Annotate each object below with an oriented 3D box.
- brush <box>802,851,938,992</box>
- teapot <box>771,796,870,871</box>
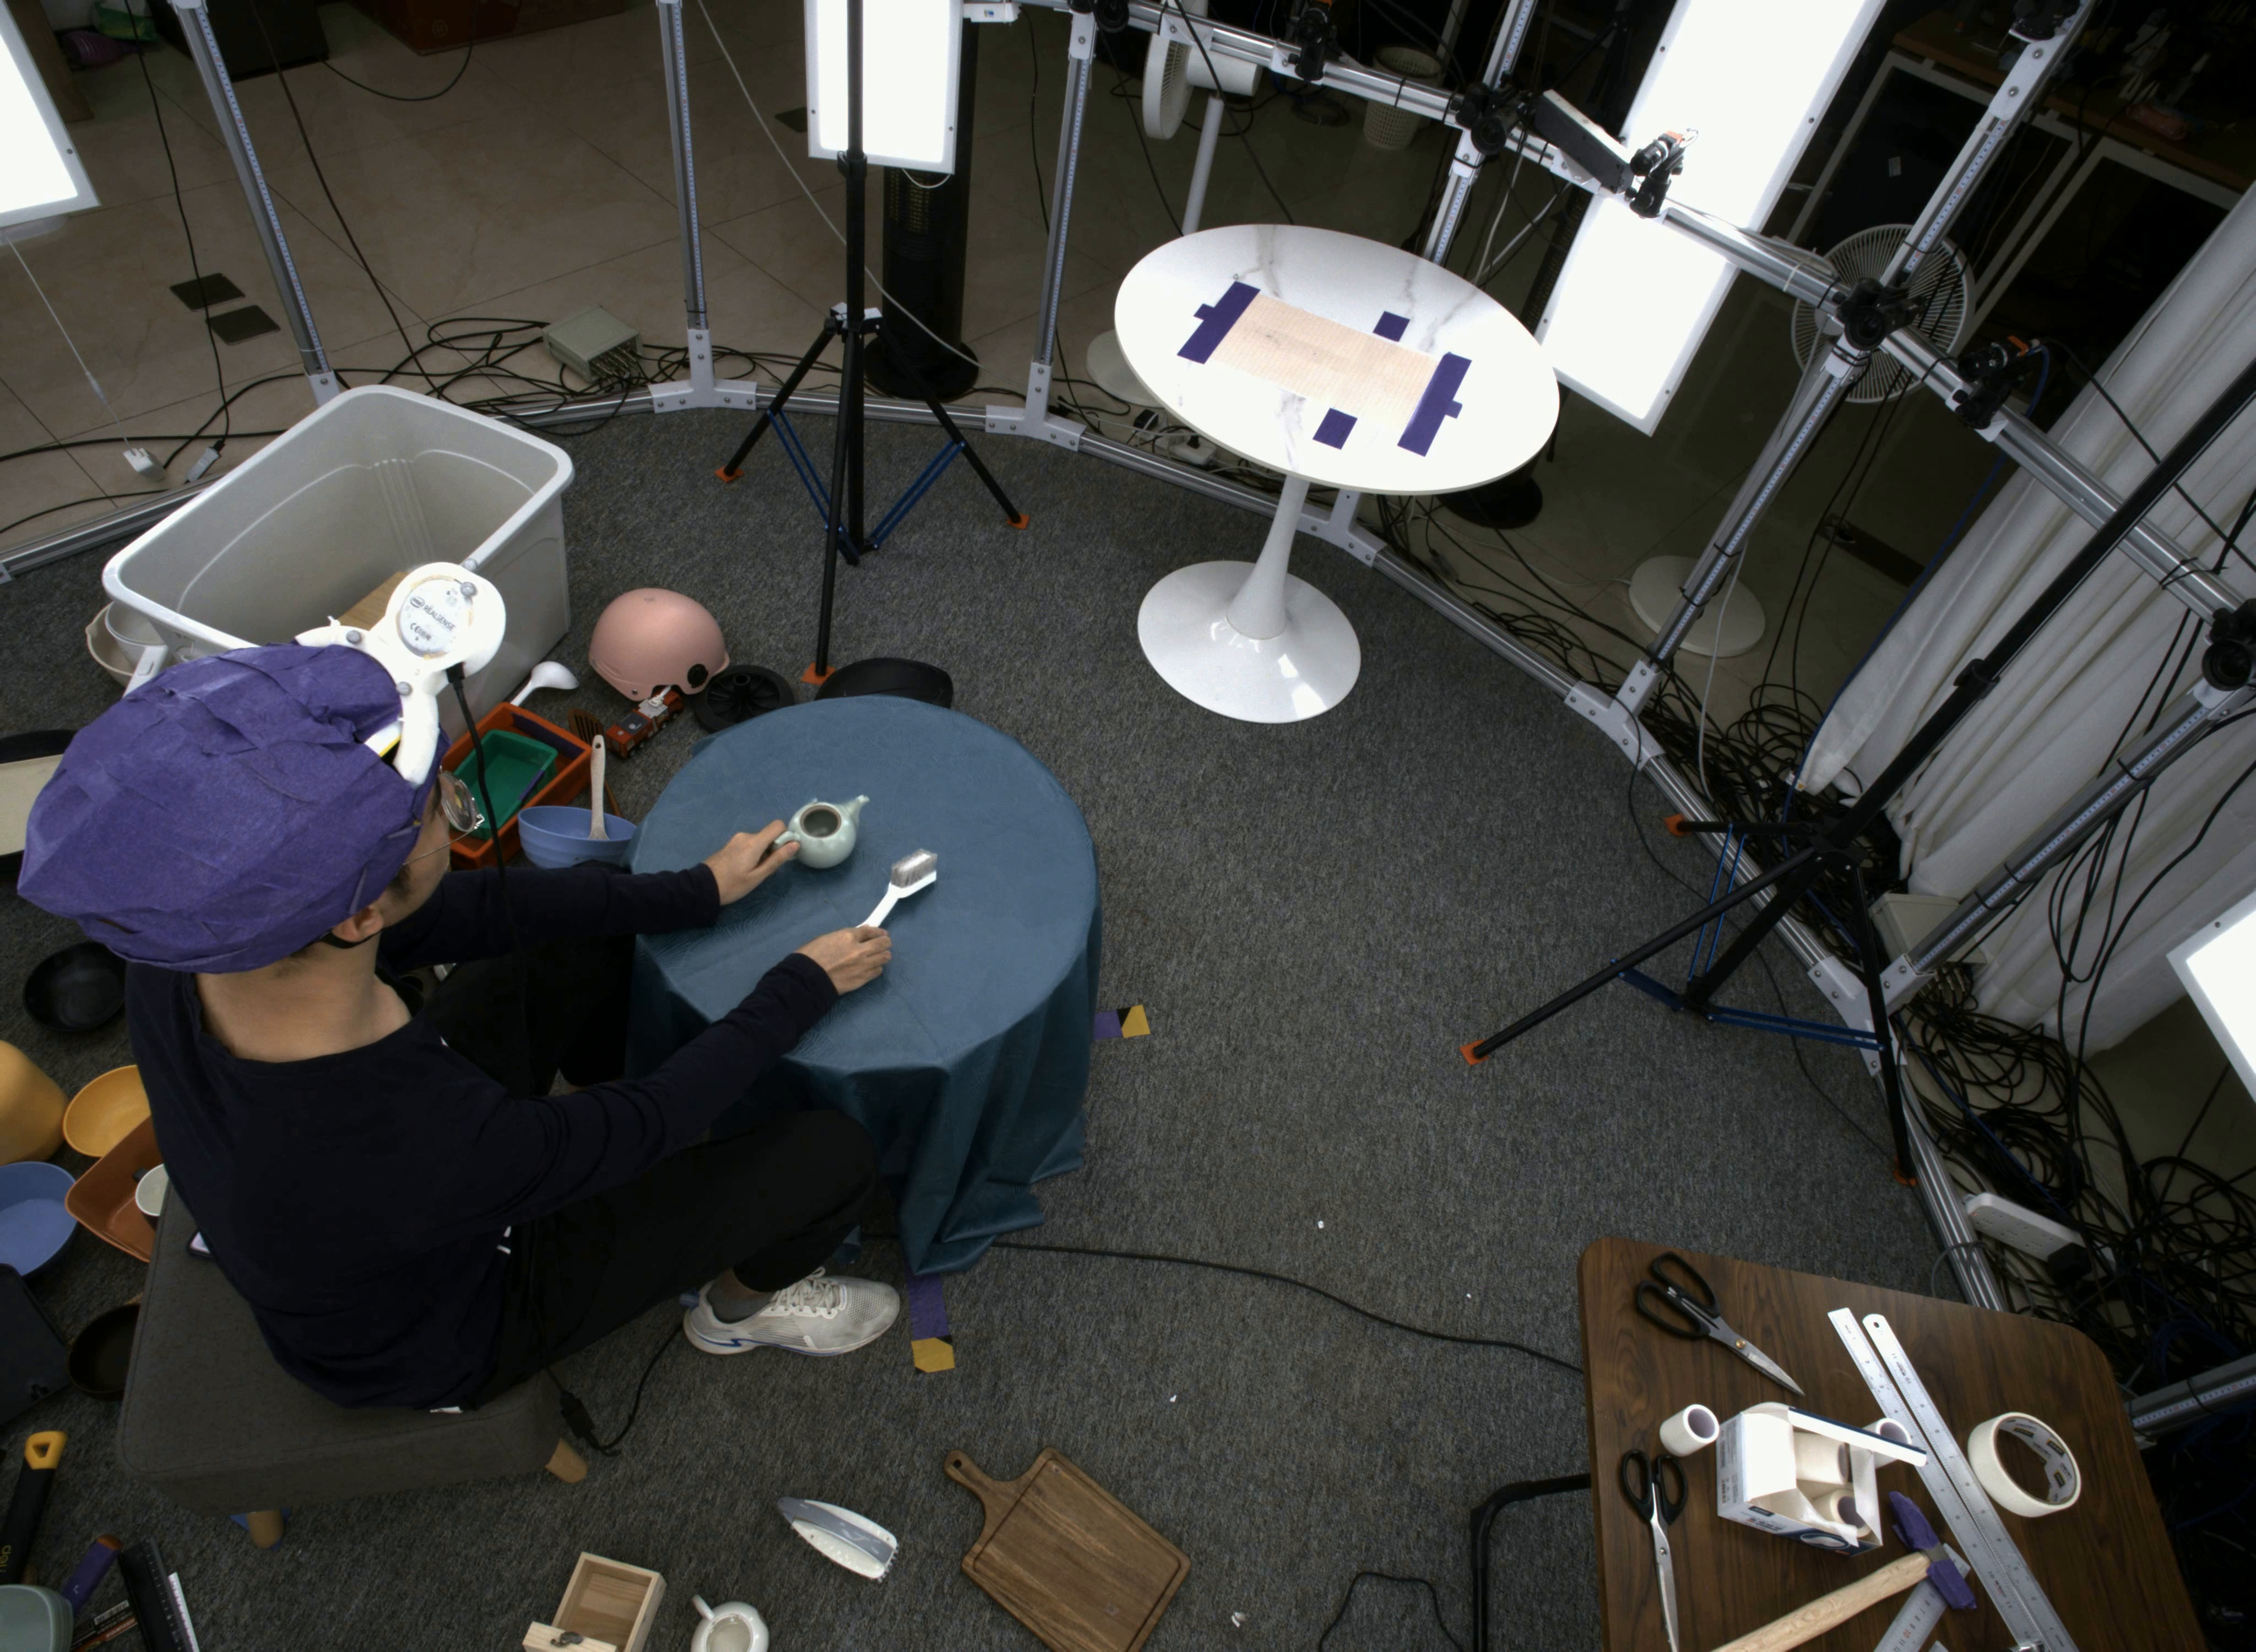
[{"bbox_3d":[-0.324,0.112,1.633,0.033,0.052,0.243,25,51,25],"label":"brush"},{"bbox_3d":[-0.396,0.012,1.678,0.144,0.076,0.086,-27,64,-30],"label":"teapot"}]
